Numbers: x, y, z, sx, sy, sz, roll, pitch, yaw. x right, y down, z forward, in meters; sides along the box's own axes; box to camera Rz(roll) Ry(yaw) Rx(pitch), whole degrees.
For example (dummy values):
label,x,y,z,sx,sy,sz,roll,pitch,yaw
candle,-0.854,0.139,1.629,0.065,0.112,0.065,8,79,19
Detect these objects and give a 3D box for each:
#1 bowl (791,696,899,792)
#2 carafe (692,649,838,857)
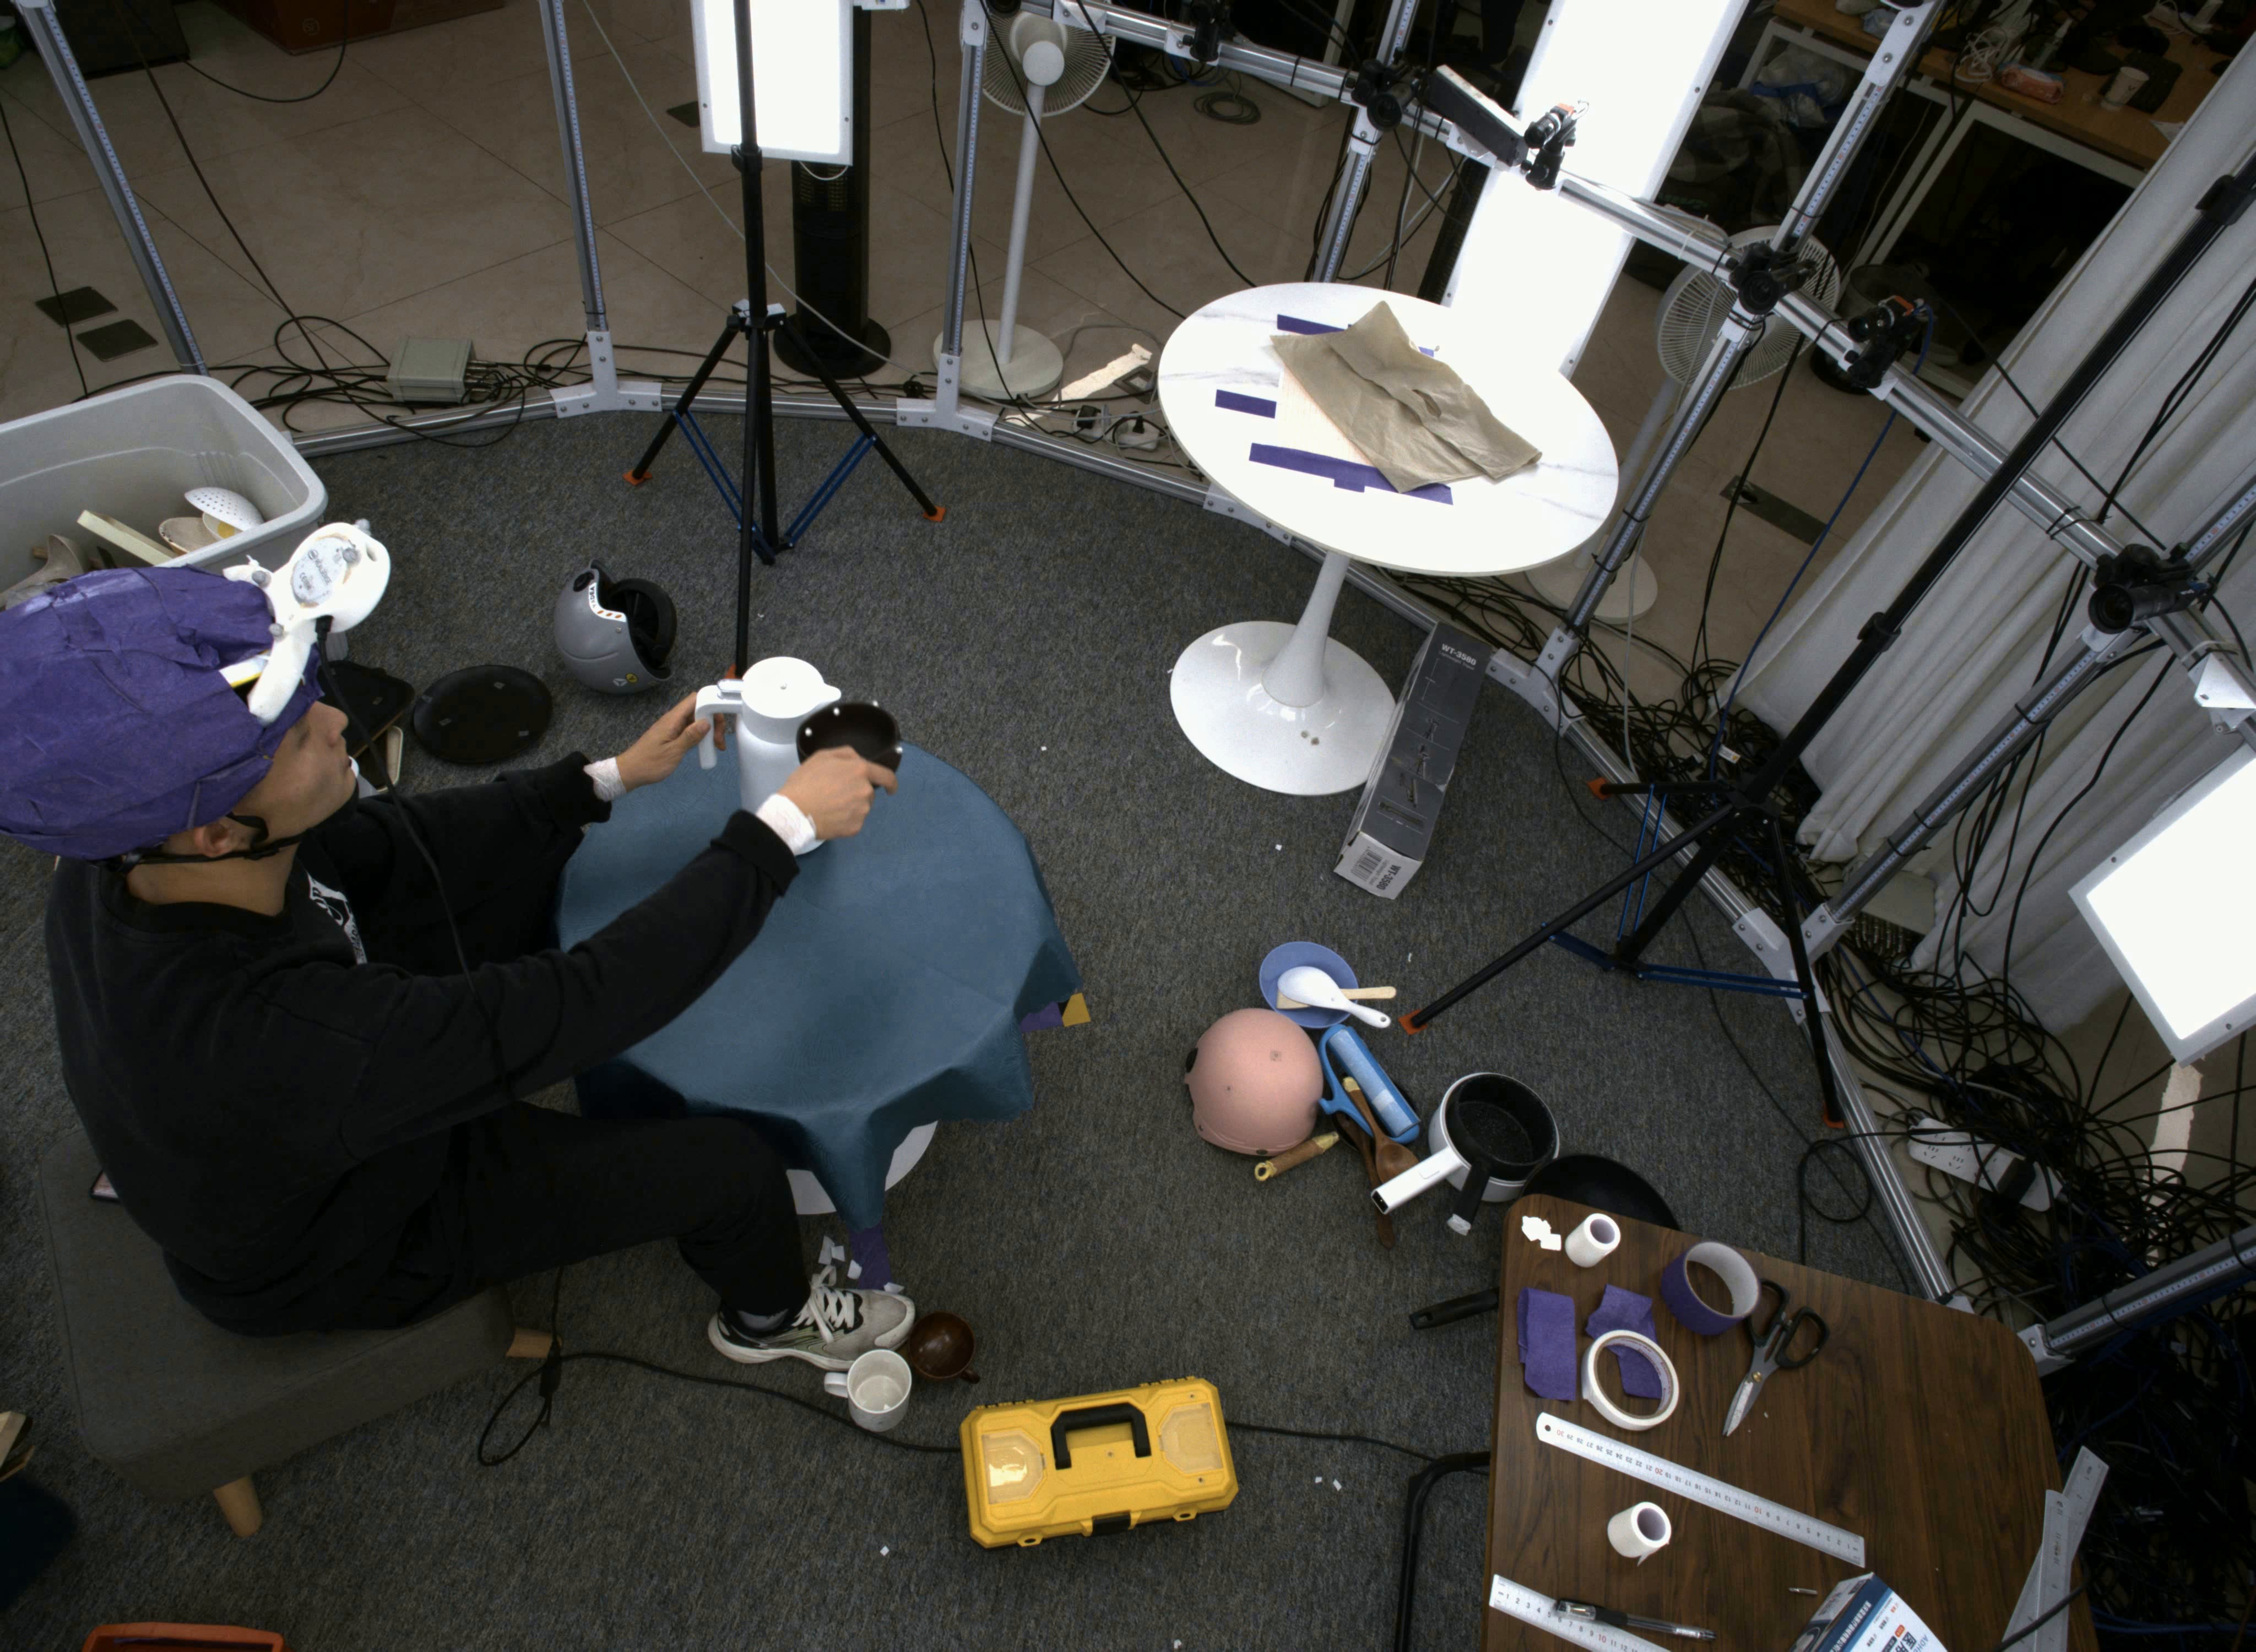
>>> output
label,x,y,z,sx,sy,sz,roll,pitch,yaw
bowl,-0.316,-0.084,1.463,0.117,0.072,0.115,2,45,0
carafe,-0.446,-0.086,1.607,0.173,0.274,0.121,-1,54,-13
